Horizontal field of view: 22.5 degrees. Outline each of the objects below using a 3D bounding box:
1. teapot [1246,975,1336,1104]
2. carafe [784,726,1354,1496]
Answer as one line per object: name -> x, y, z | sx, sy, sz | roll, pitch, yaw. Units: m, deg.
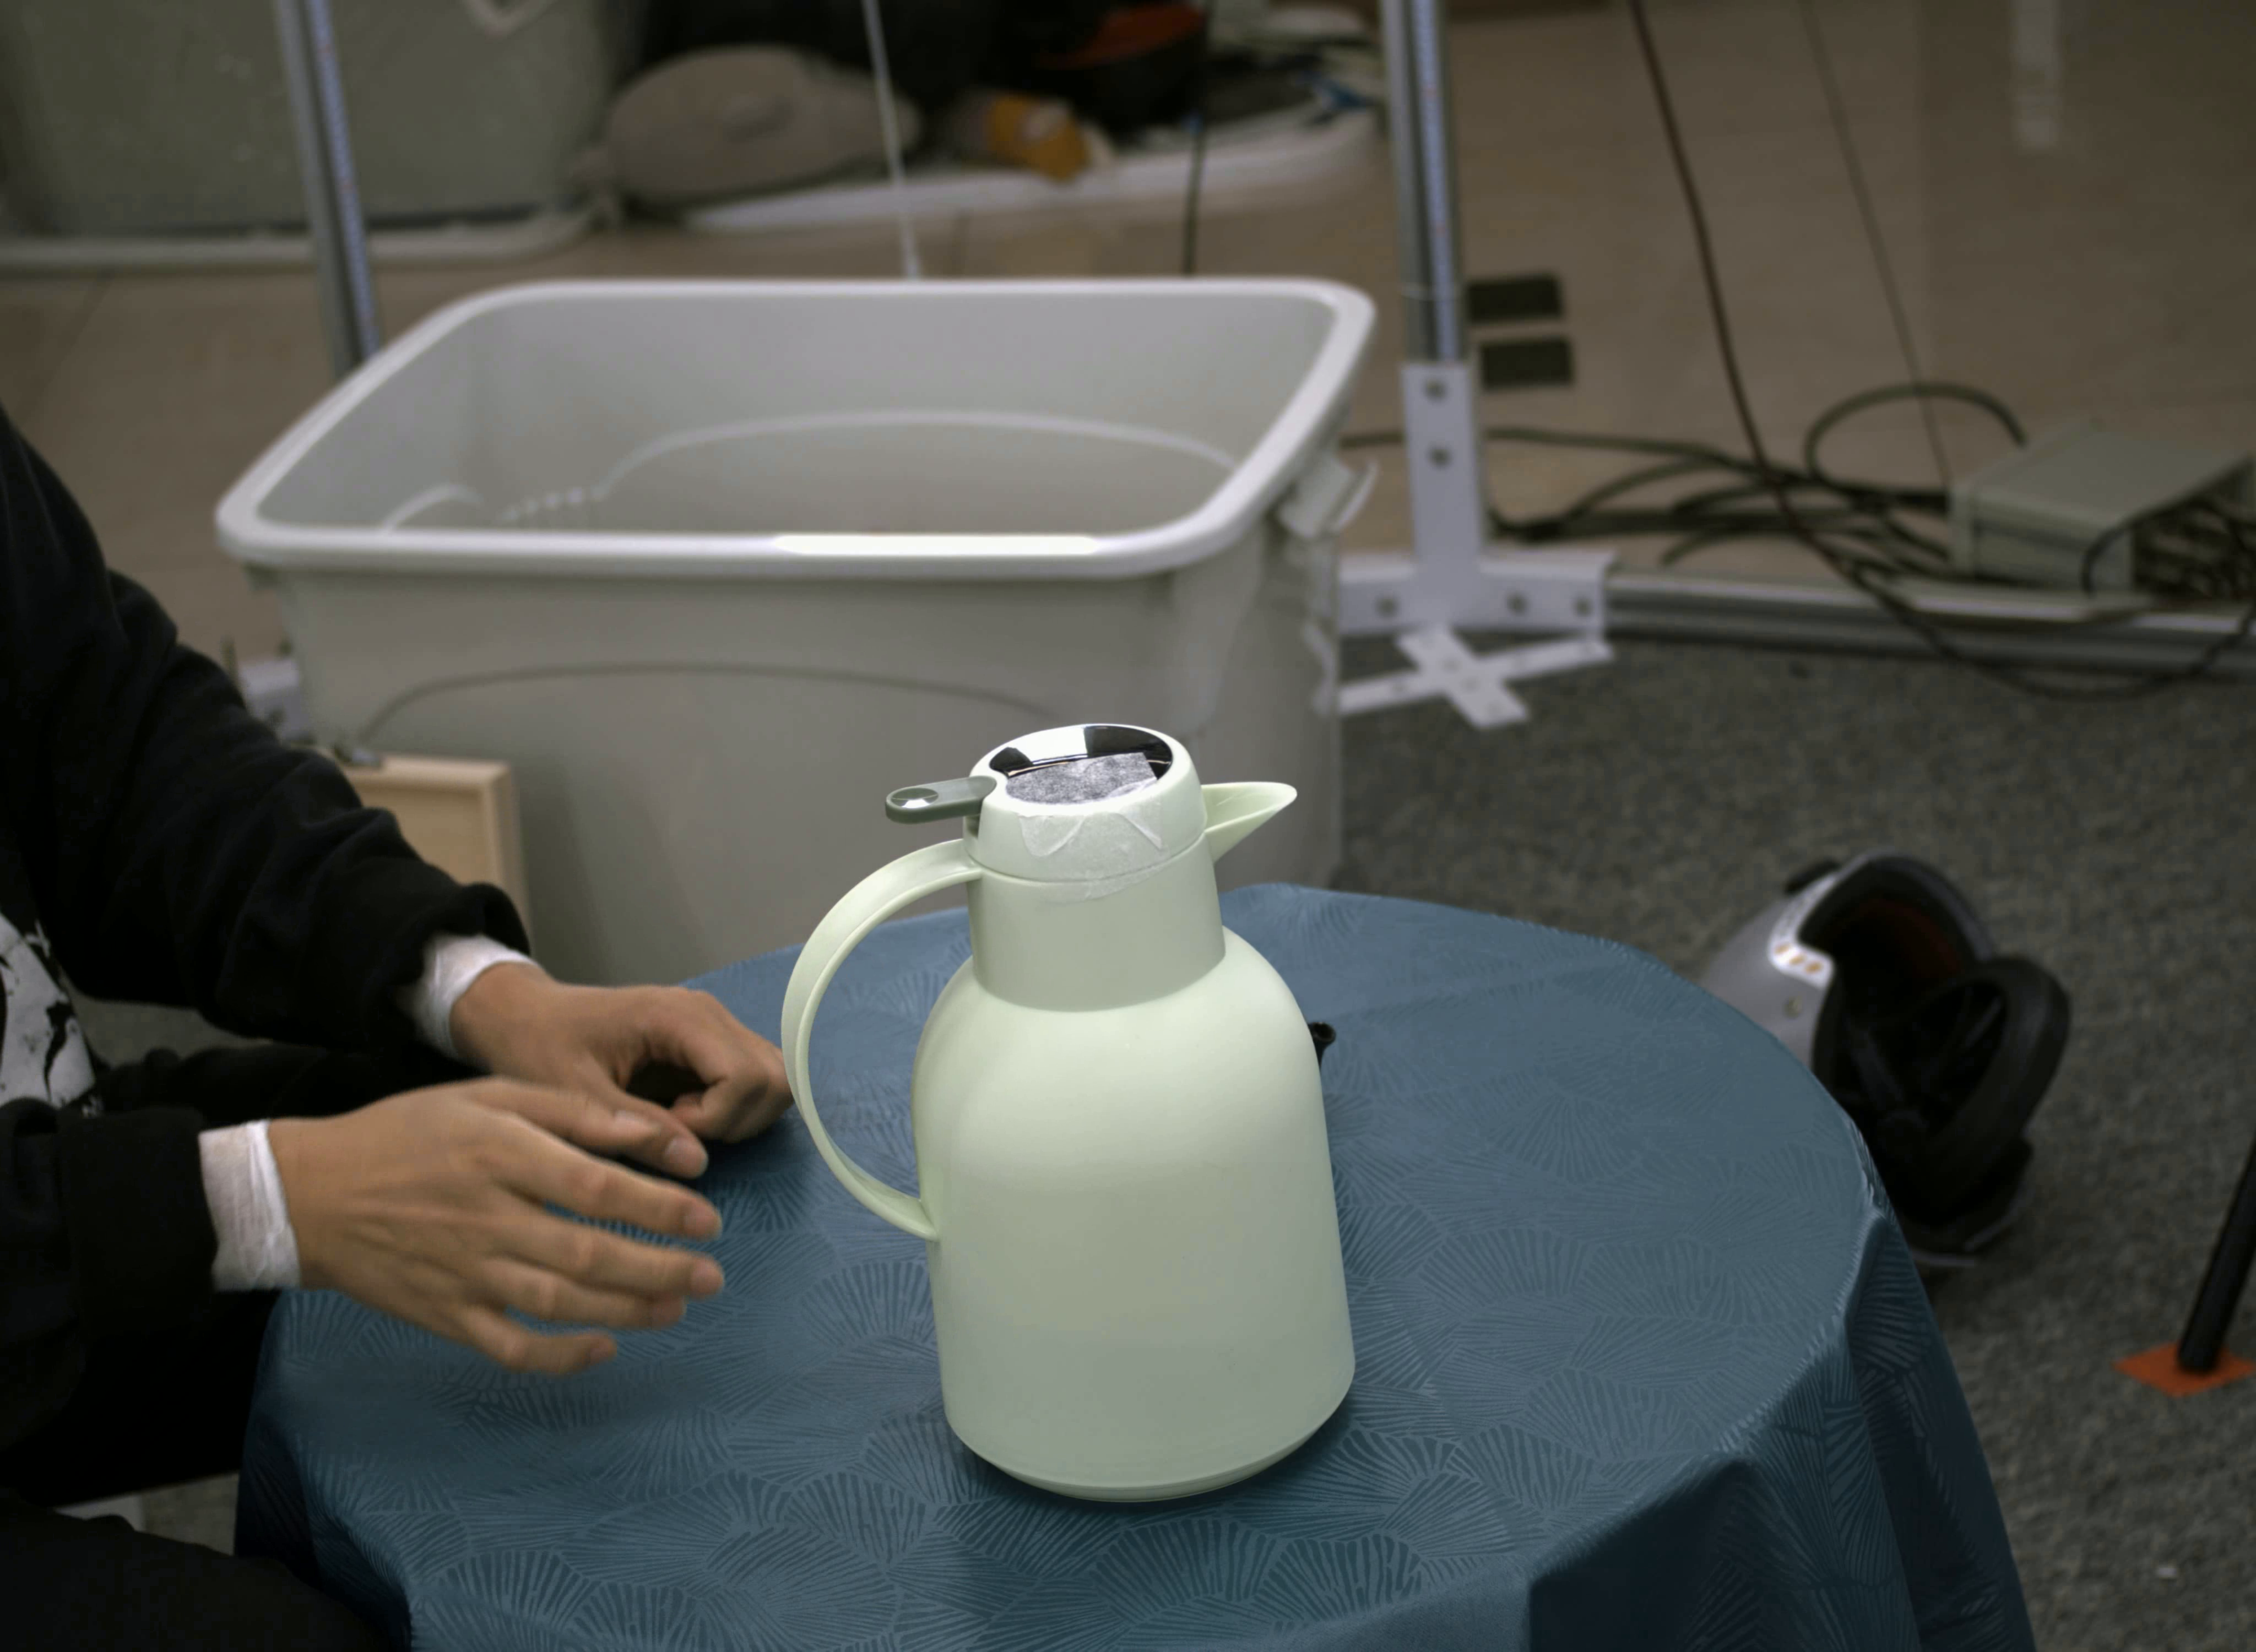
teapot -> 0.024, 0.090, 2.185 | 0.132, 0.054, 0.090 | 11, 29, 32
carafe -> -0.018, 0.096, 1.947 | 0.186, 0.261, 0.142 | -15, 29, -9
